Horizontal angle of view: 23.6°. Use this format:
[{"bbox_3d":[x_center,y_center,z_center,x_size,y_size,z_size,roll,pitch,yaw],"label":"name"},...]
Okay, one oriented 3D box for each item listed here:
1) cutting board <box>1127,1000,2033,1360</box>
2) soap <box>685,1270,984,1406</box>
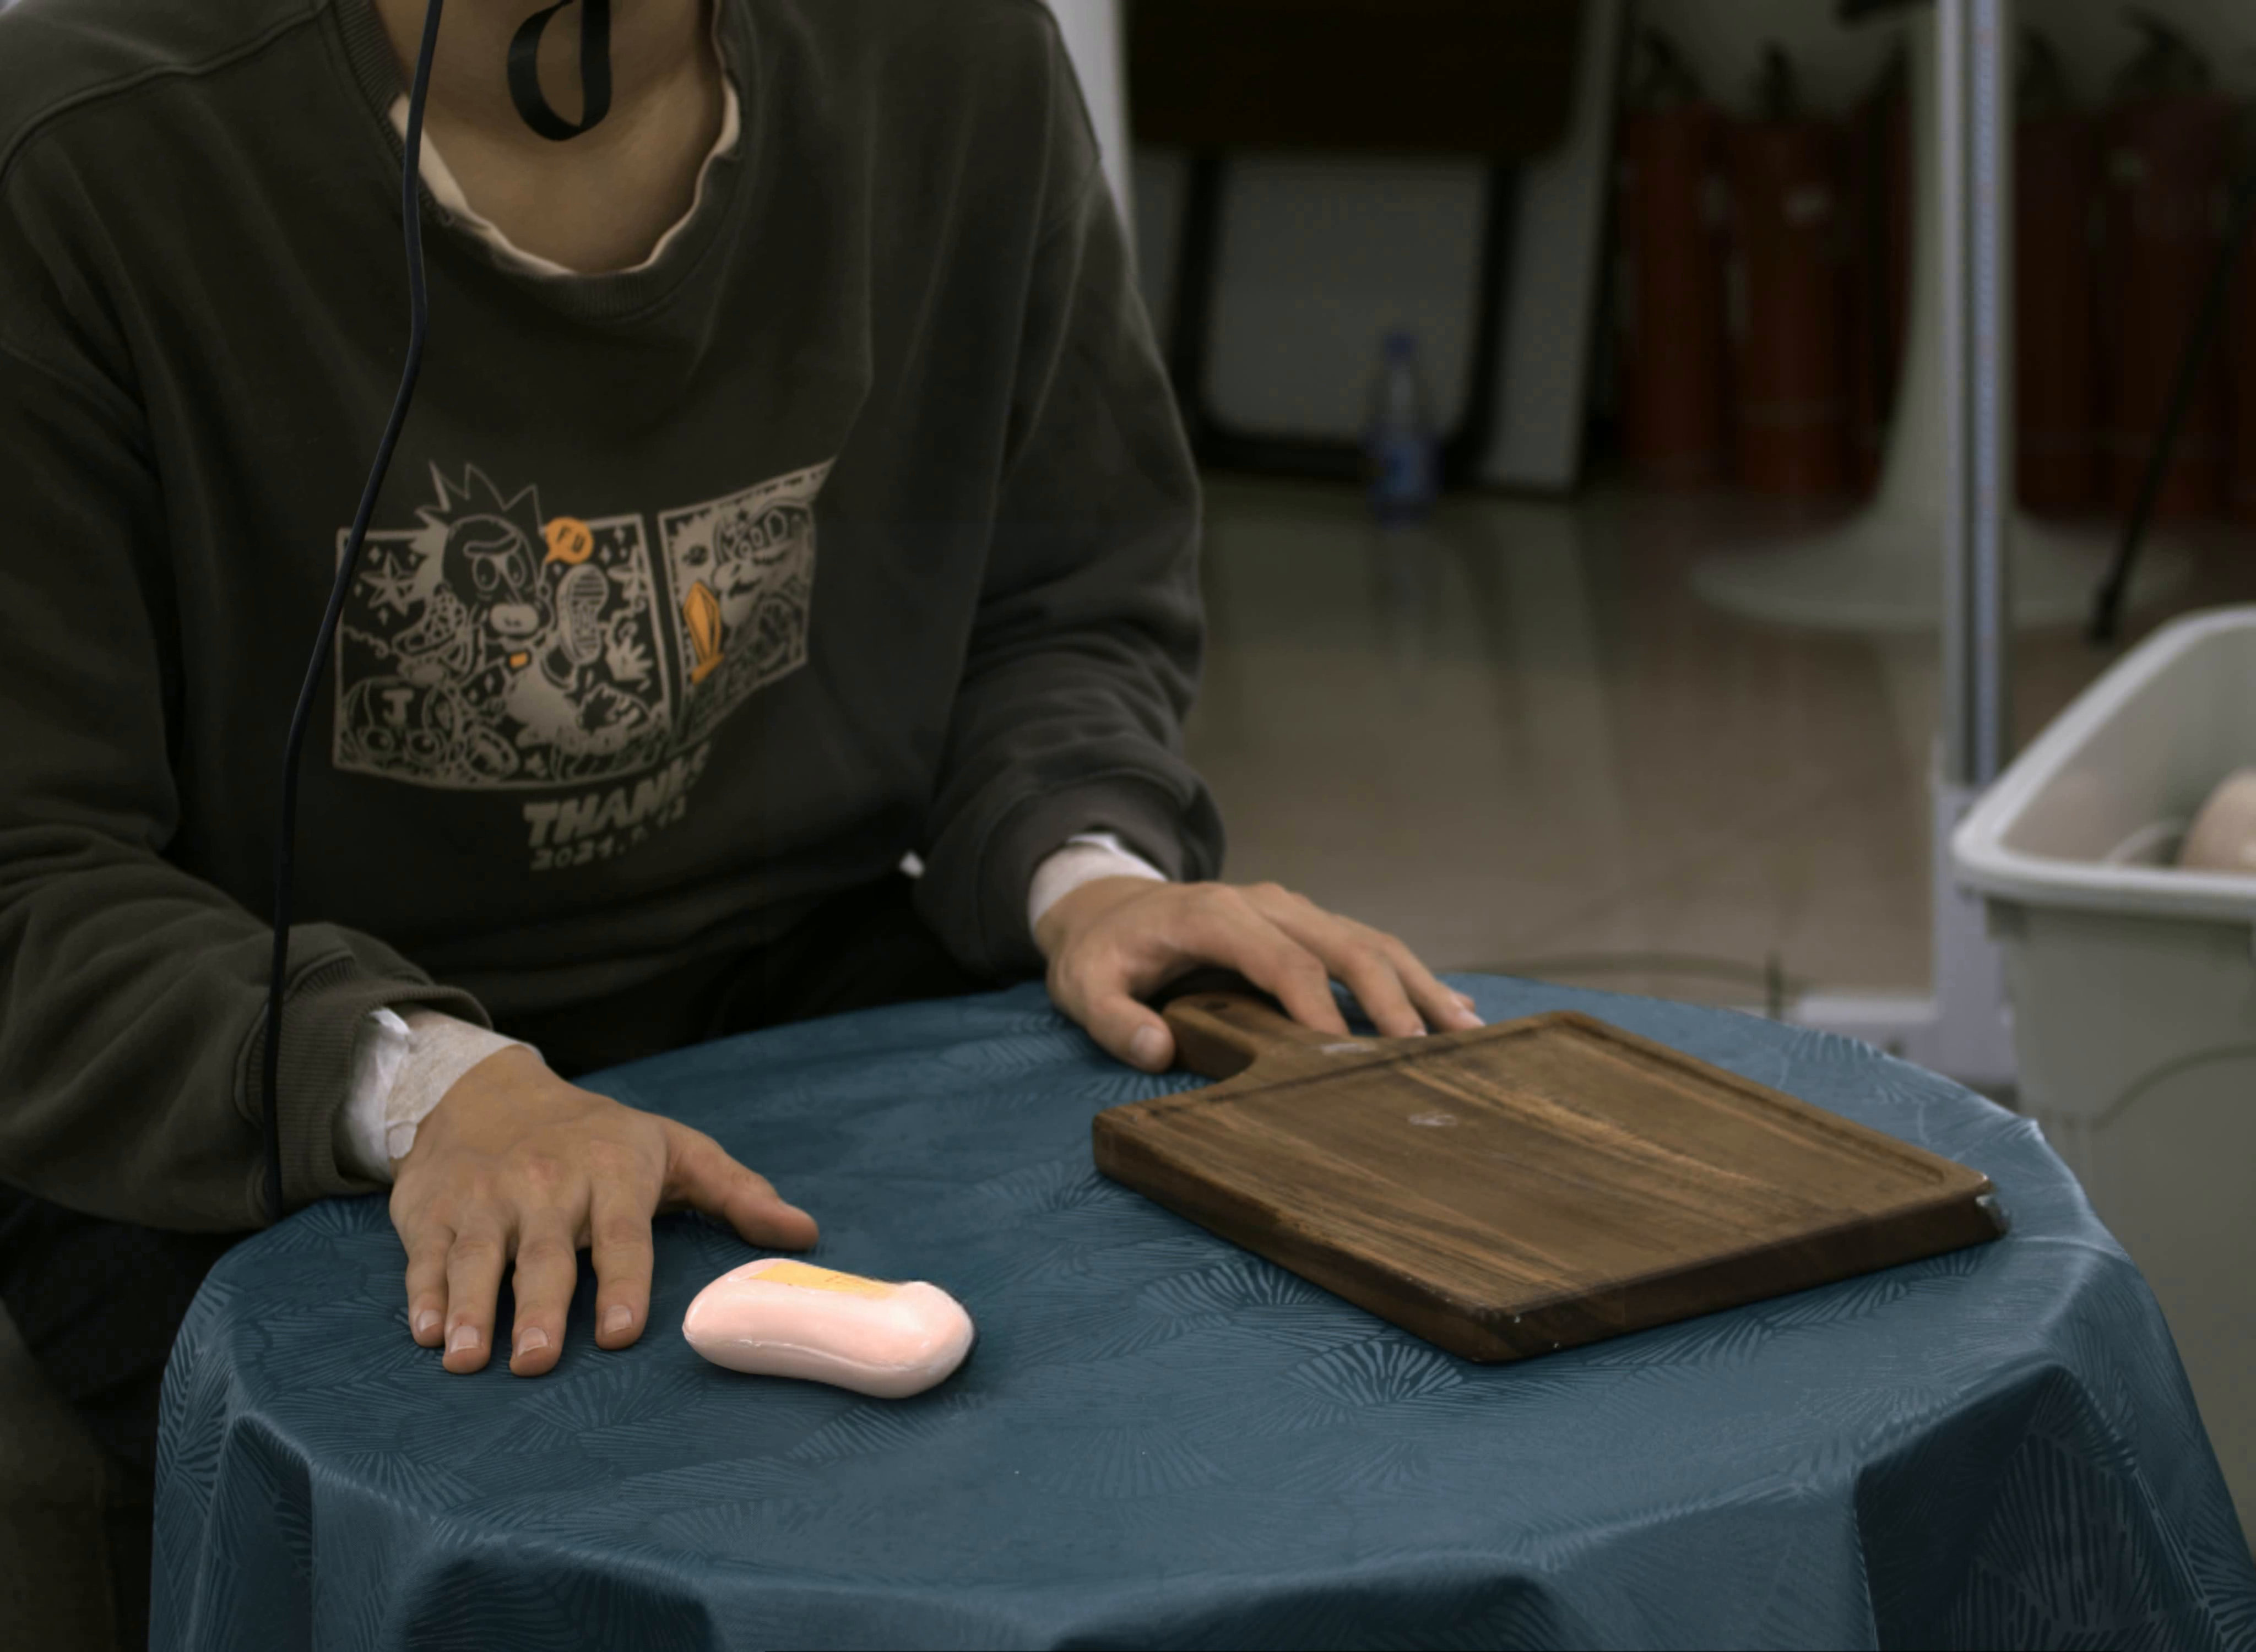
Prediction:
[{"bbox_3d":[0.118,0.103,1.774,0.197,0.023,0.356,-11,15,-25],"label":"cutting board"},{"bbox_3d":[-0.088,0.153,1.615,0.095,0.031,0.049,4,15,36],"label":"soap"}]
